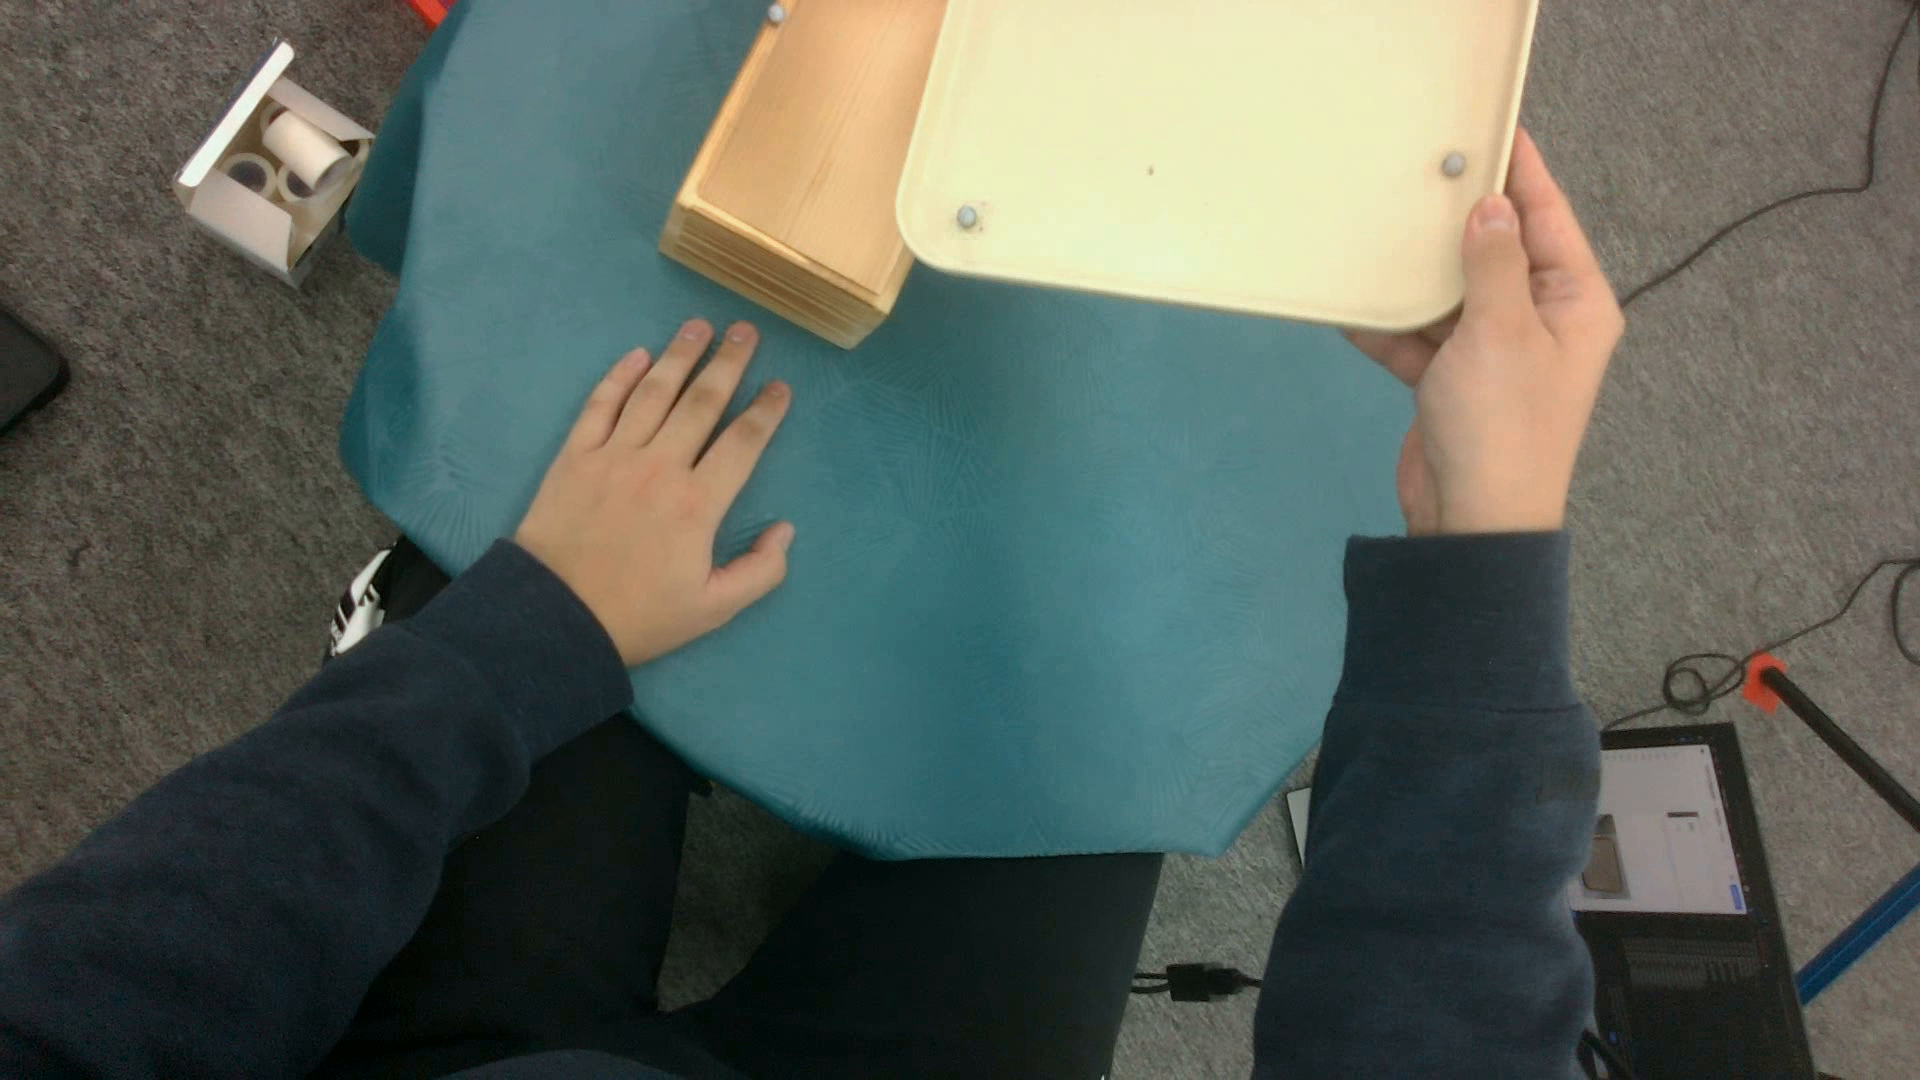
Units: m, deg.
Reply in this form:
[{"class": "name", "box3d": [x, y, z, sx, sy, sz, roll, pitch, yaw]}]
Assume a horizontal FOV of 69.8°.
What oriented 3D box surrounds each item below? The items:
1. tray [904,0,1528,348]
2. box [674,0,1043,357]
[{"class": "tray", "box3d": [0.102, -0.171, 0.578, 0.239, 0.017, 0.171, 11, 81, 17]}, {"class": "box", "box3d": [-0.046, -0.213, 0.687, 0.107, 0.080, 0.212, 26, 78, -13]}]
